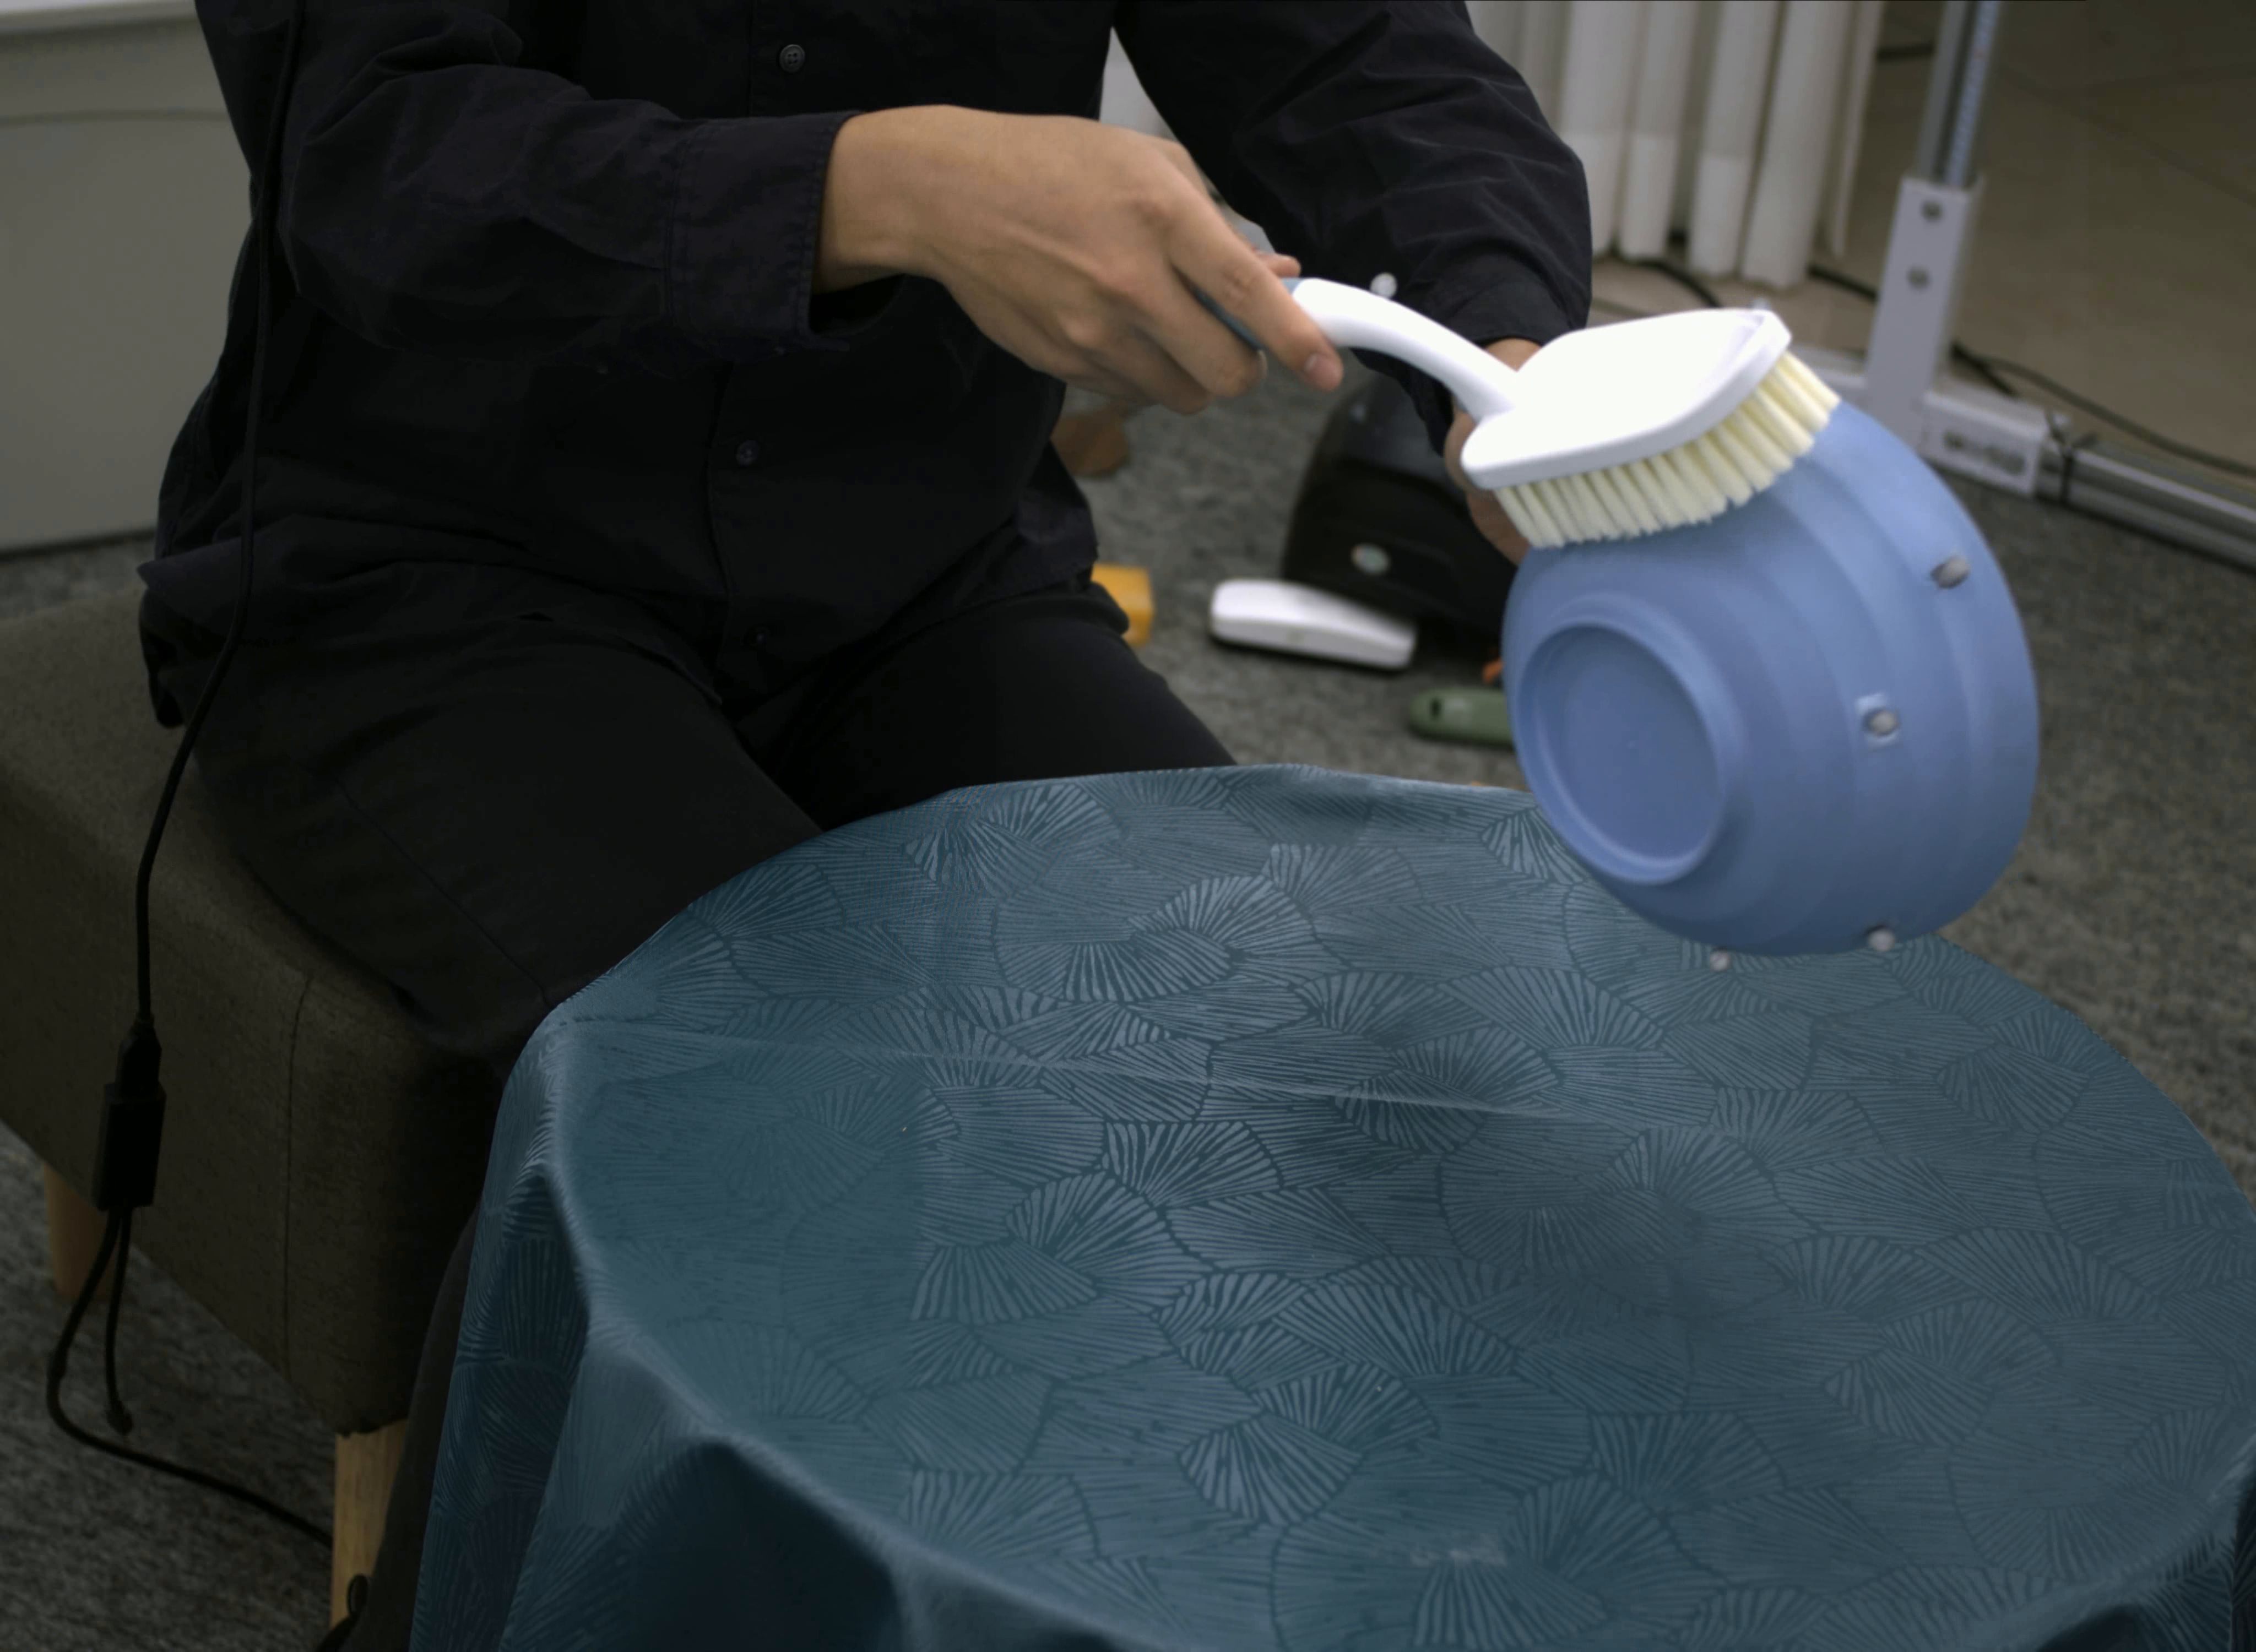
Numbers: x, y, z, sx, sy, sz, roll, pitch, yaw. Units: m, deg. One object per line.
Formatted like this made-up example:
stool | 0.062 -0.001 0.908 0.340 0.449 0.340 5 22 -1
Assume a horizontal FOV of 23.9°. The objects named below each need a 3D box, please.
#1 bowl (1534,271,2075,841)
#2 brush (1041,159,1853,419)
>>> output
bowl | 0.203 -0.077 1.744 0.095 0.195 0.198 -24 40 -38
brush | 0.107 -0.181 1.772 0.327 0.084 0.082 7 14 43
